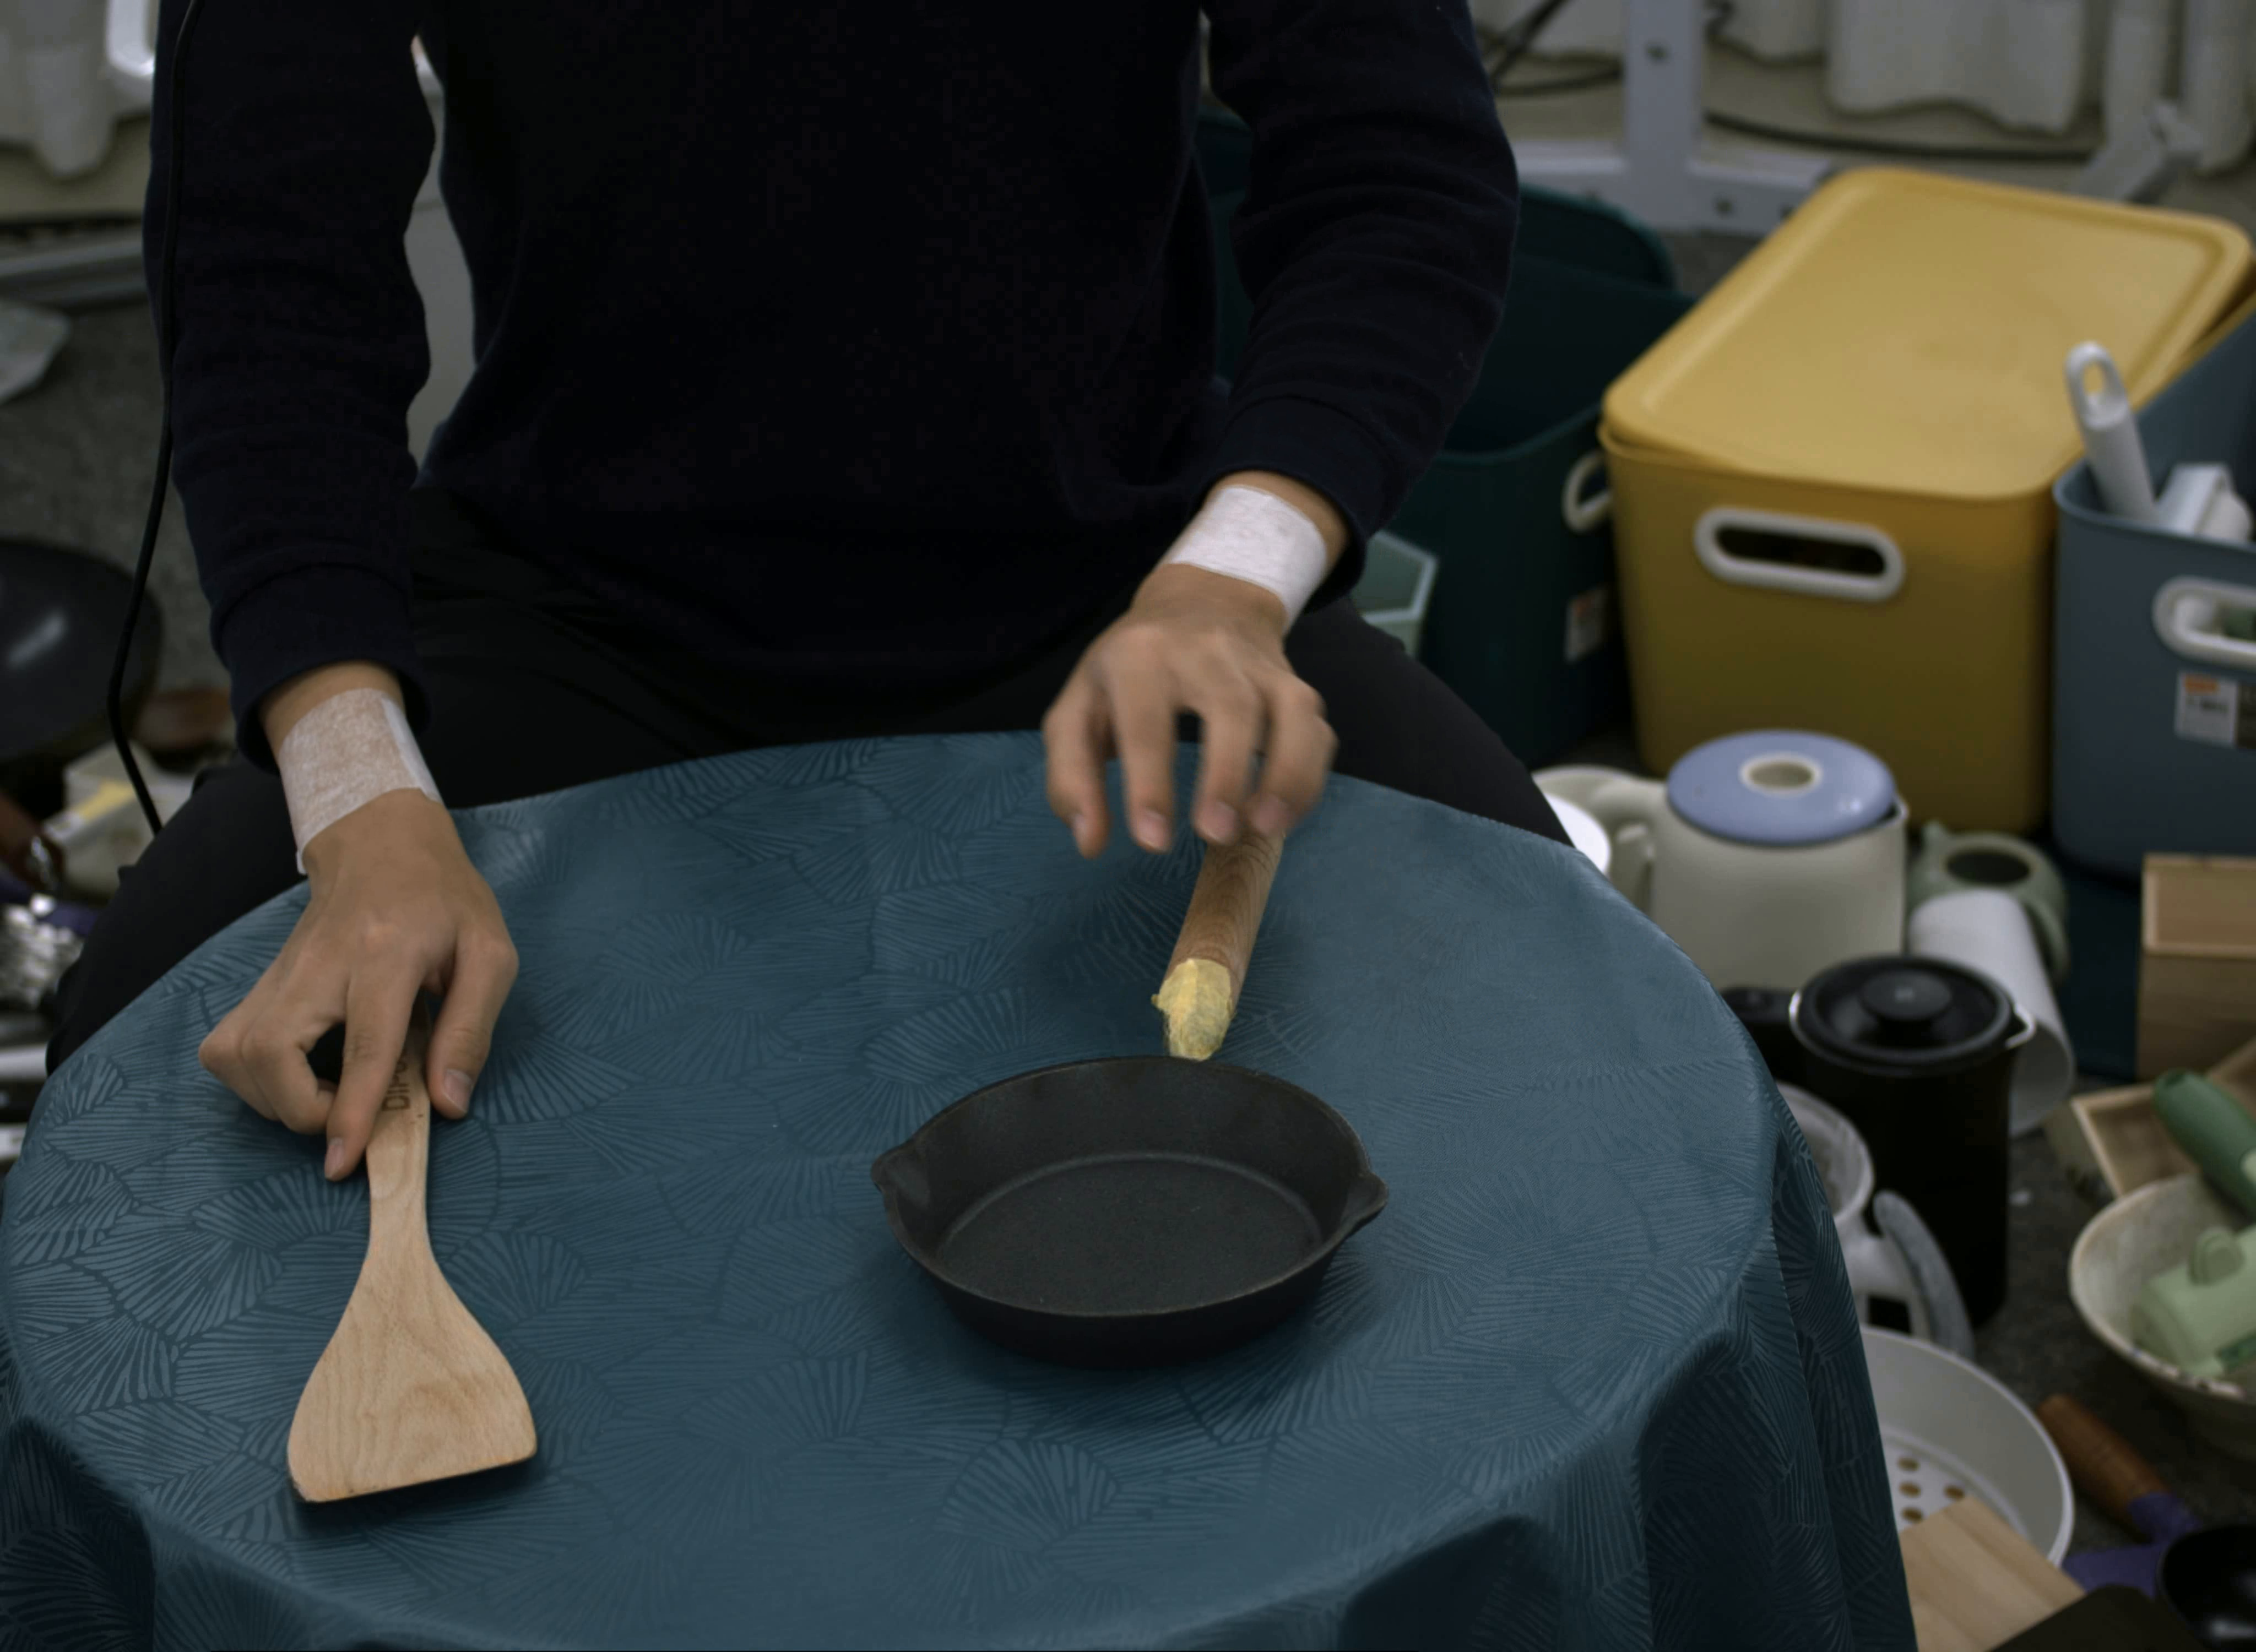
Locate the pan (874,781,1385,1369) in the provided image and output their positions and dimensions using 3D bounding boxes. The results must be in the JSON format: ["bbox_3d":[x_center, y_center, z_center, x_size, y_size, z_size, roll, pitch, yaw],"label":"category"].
[{"bbox_3d":[0.019,0.081,1.885,0.168,0.049,0.330,4,30,13],"label":"pan"}]

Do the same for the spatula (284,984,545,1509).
[{"bbox_3d":[-0.239,0.132,1.847,0.080,0.016,0.332,-5,29,-6],"label":"spatula"}]
